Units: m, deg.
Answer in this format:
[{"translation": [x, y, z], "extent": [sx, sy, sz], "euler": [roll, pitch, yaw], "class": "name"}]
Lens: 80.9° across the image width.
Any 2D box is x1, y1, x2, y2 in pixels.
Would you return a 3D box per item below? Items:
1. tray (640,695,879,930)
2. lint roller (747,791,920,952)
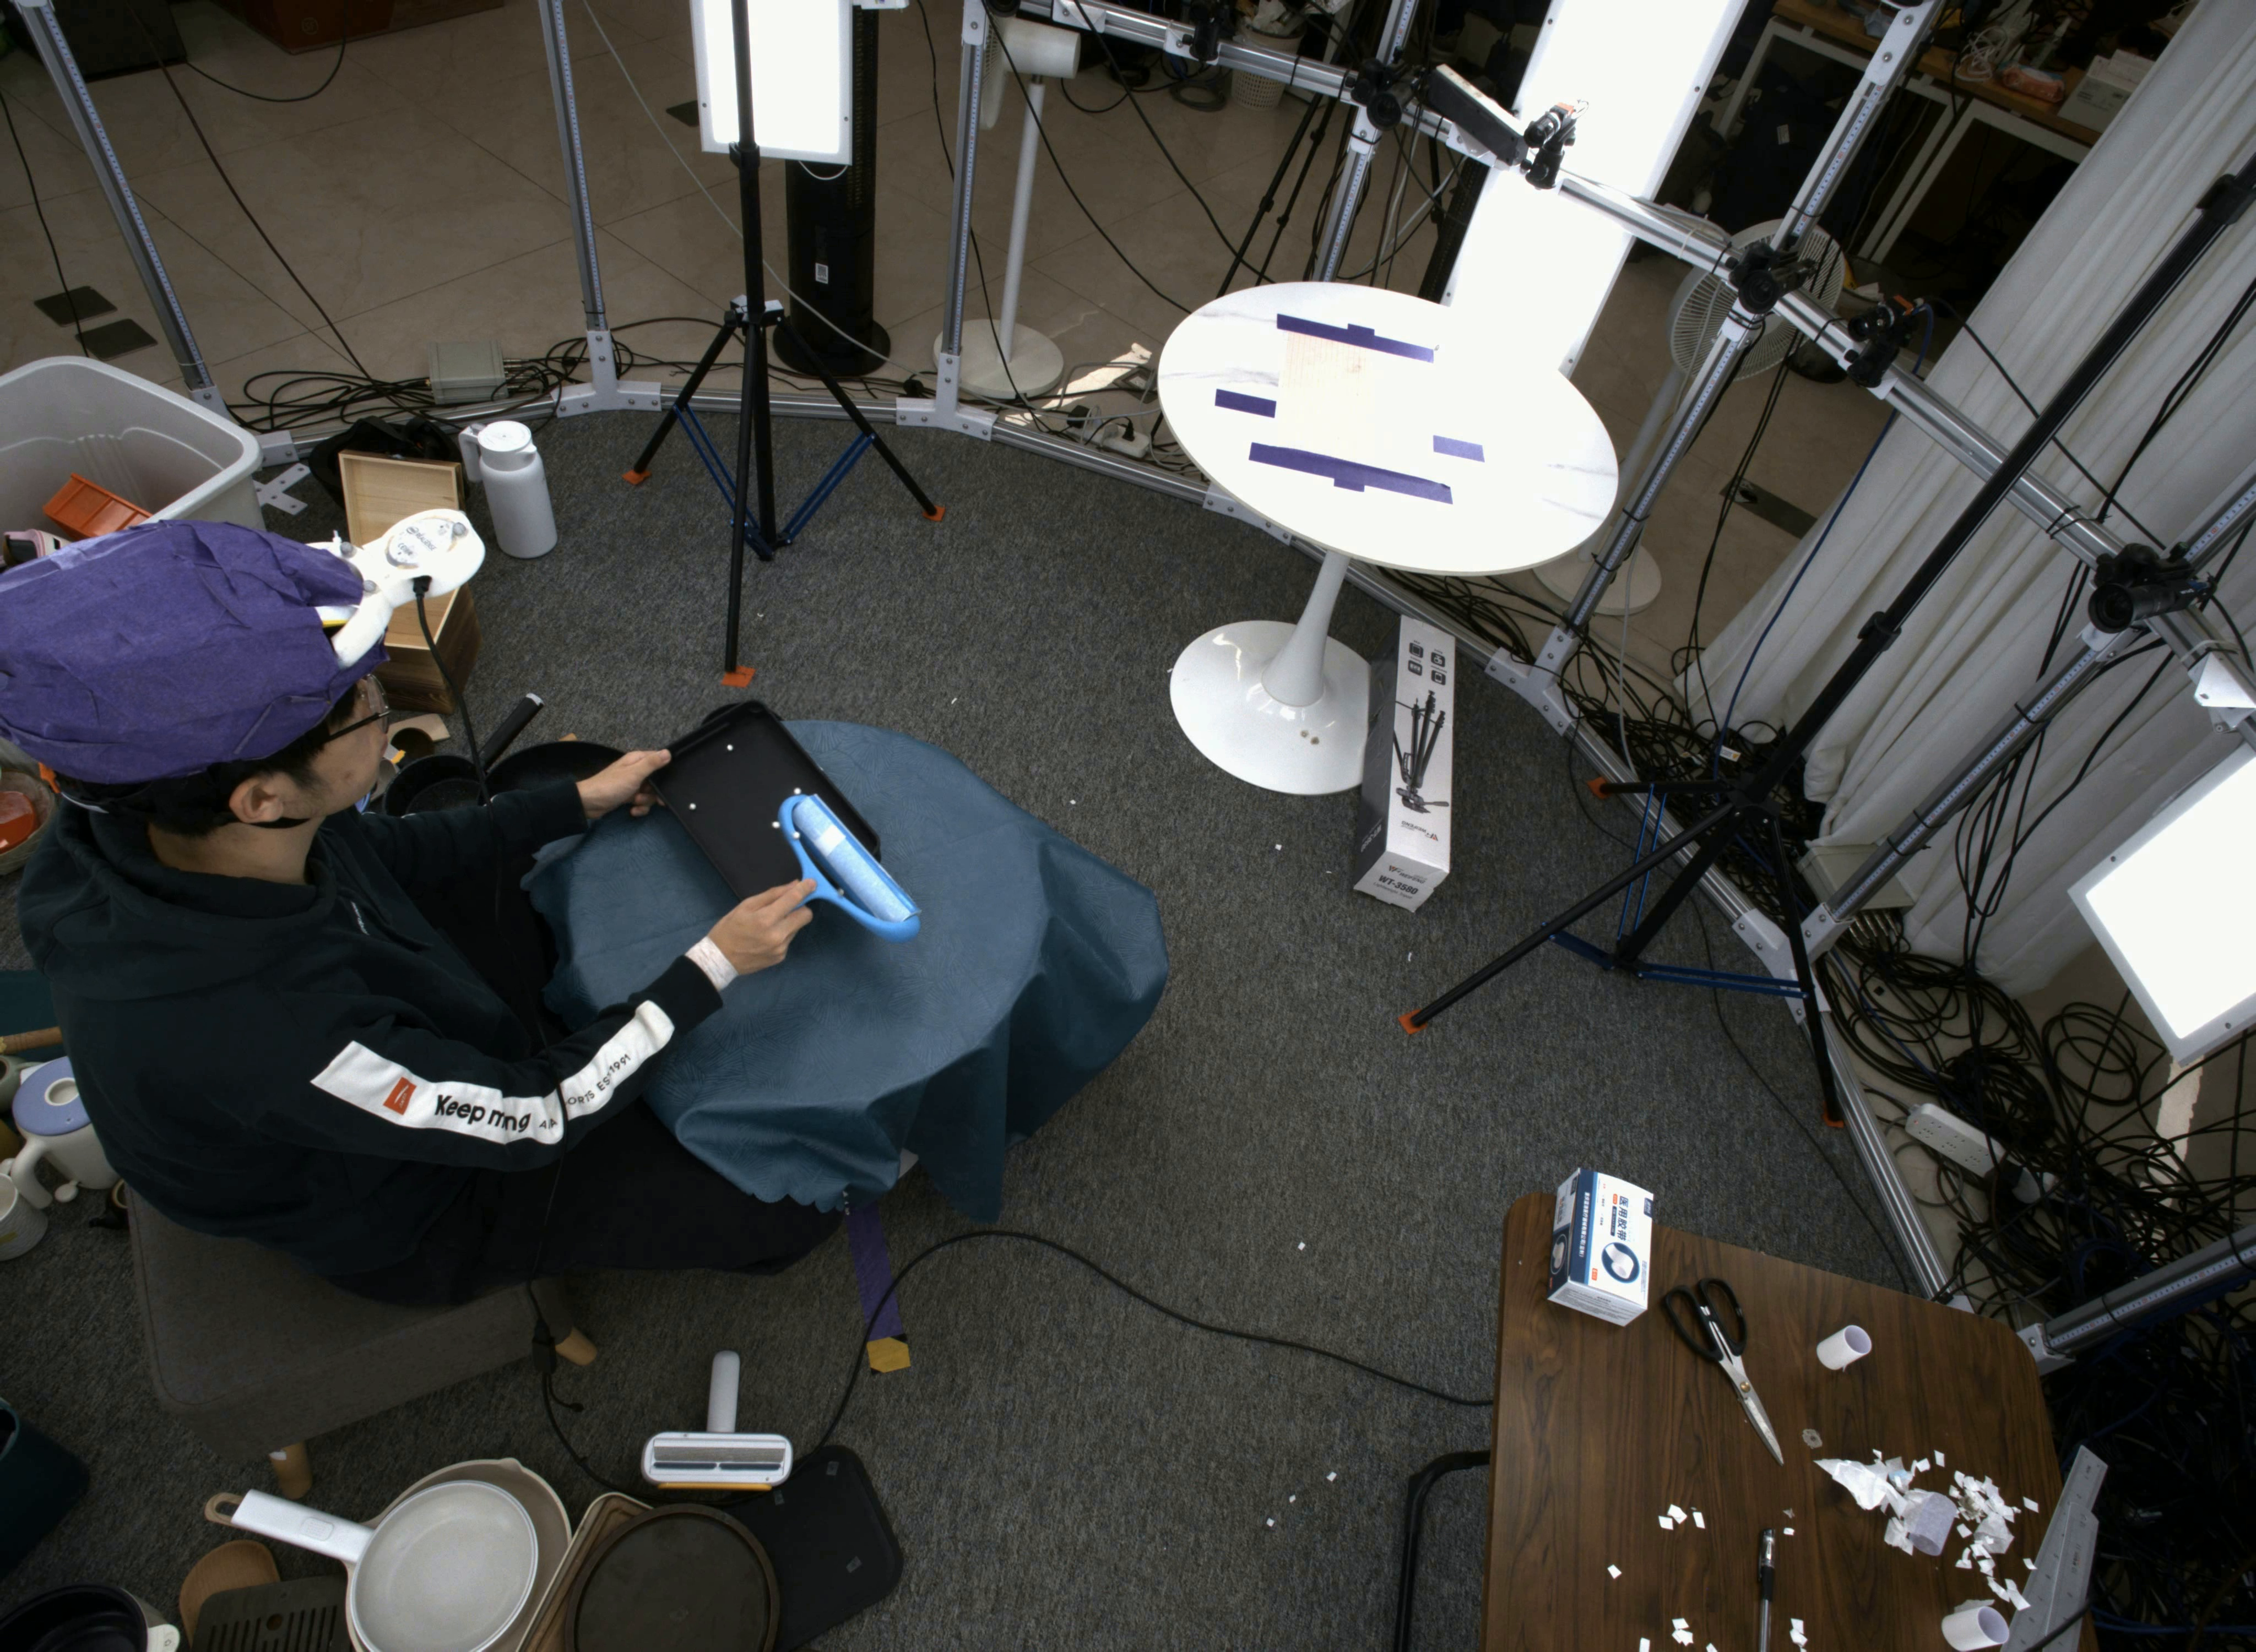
[{"translation": [-0.473, -0.023, 1.652], "extent": [0.184, 0.038, 0.310], "euler": [-36, 67, -21], "class": "tray"}, {"translation": [-0.372, 0.079, 1.530], "extent": [0.228, 0.068, 0.180], "euler": [46, 58, 2], "class": "lint roller"}]
